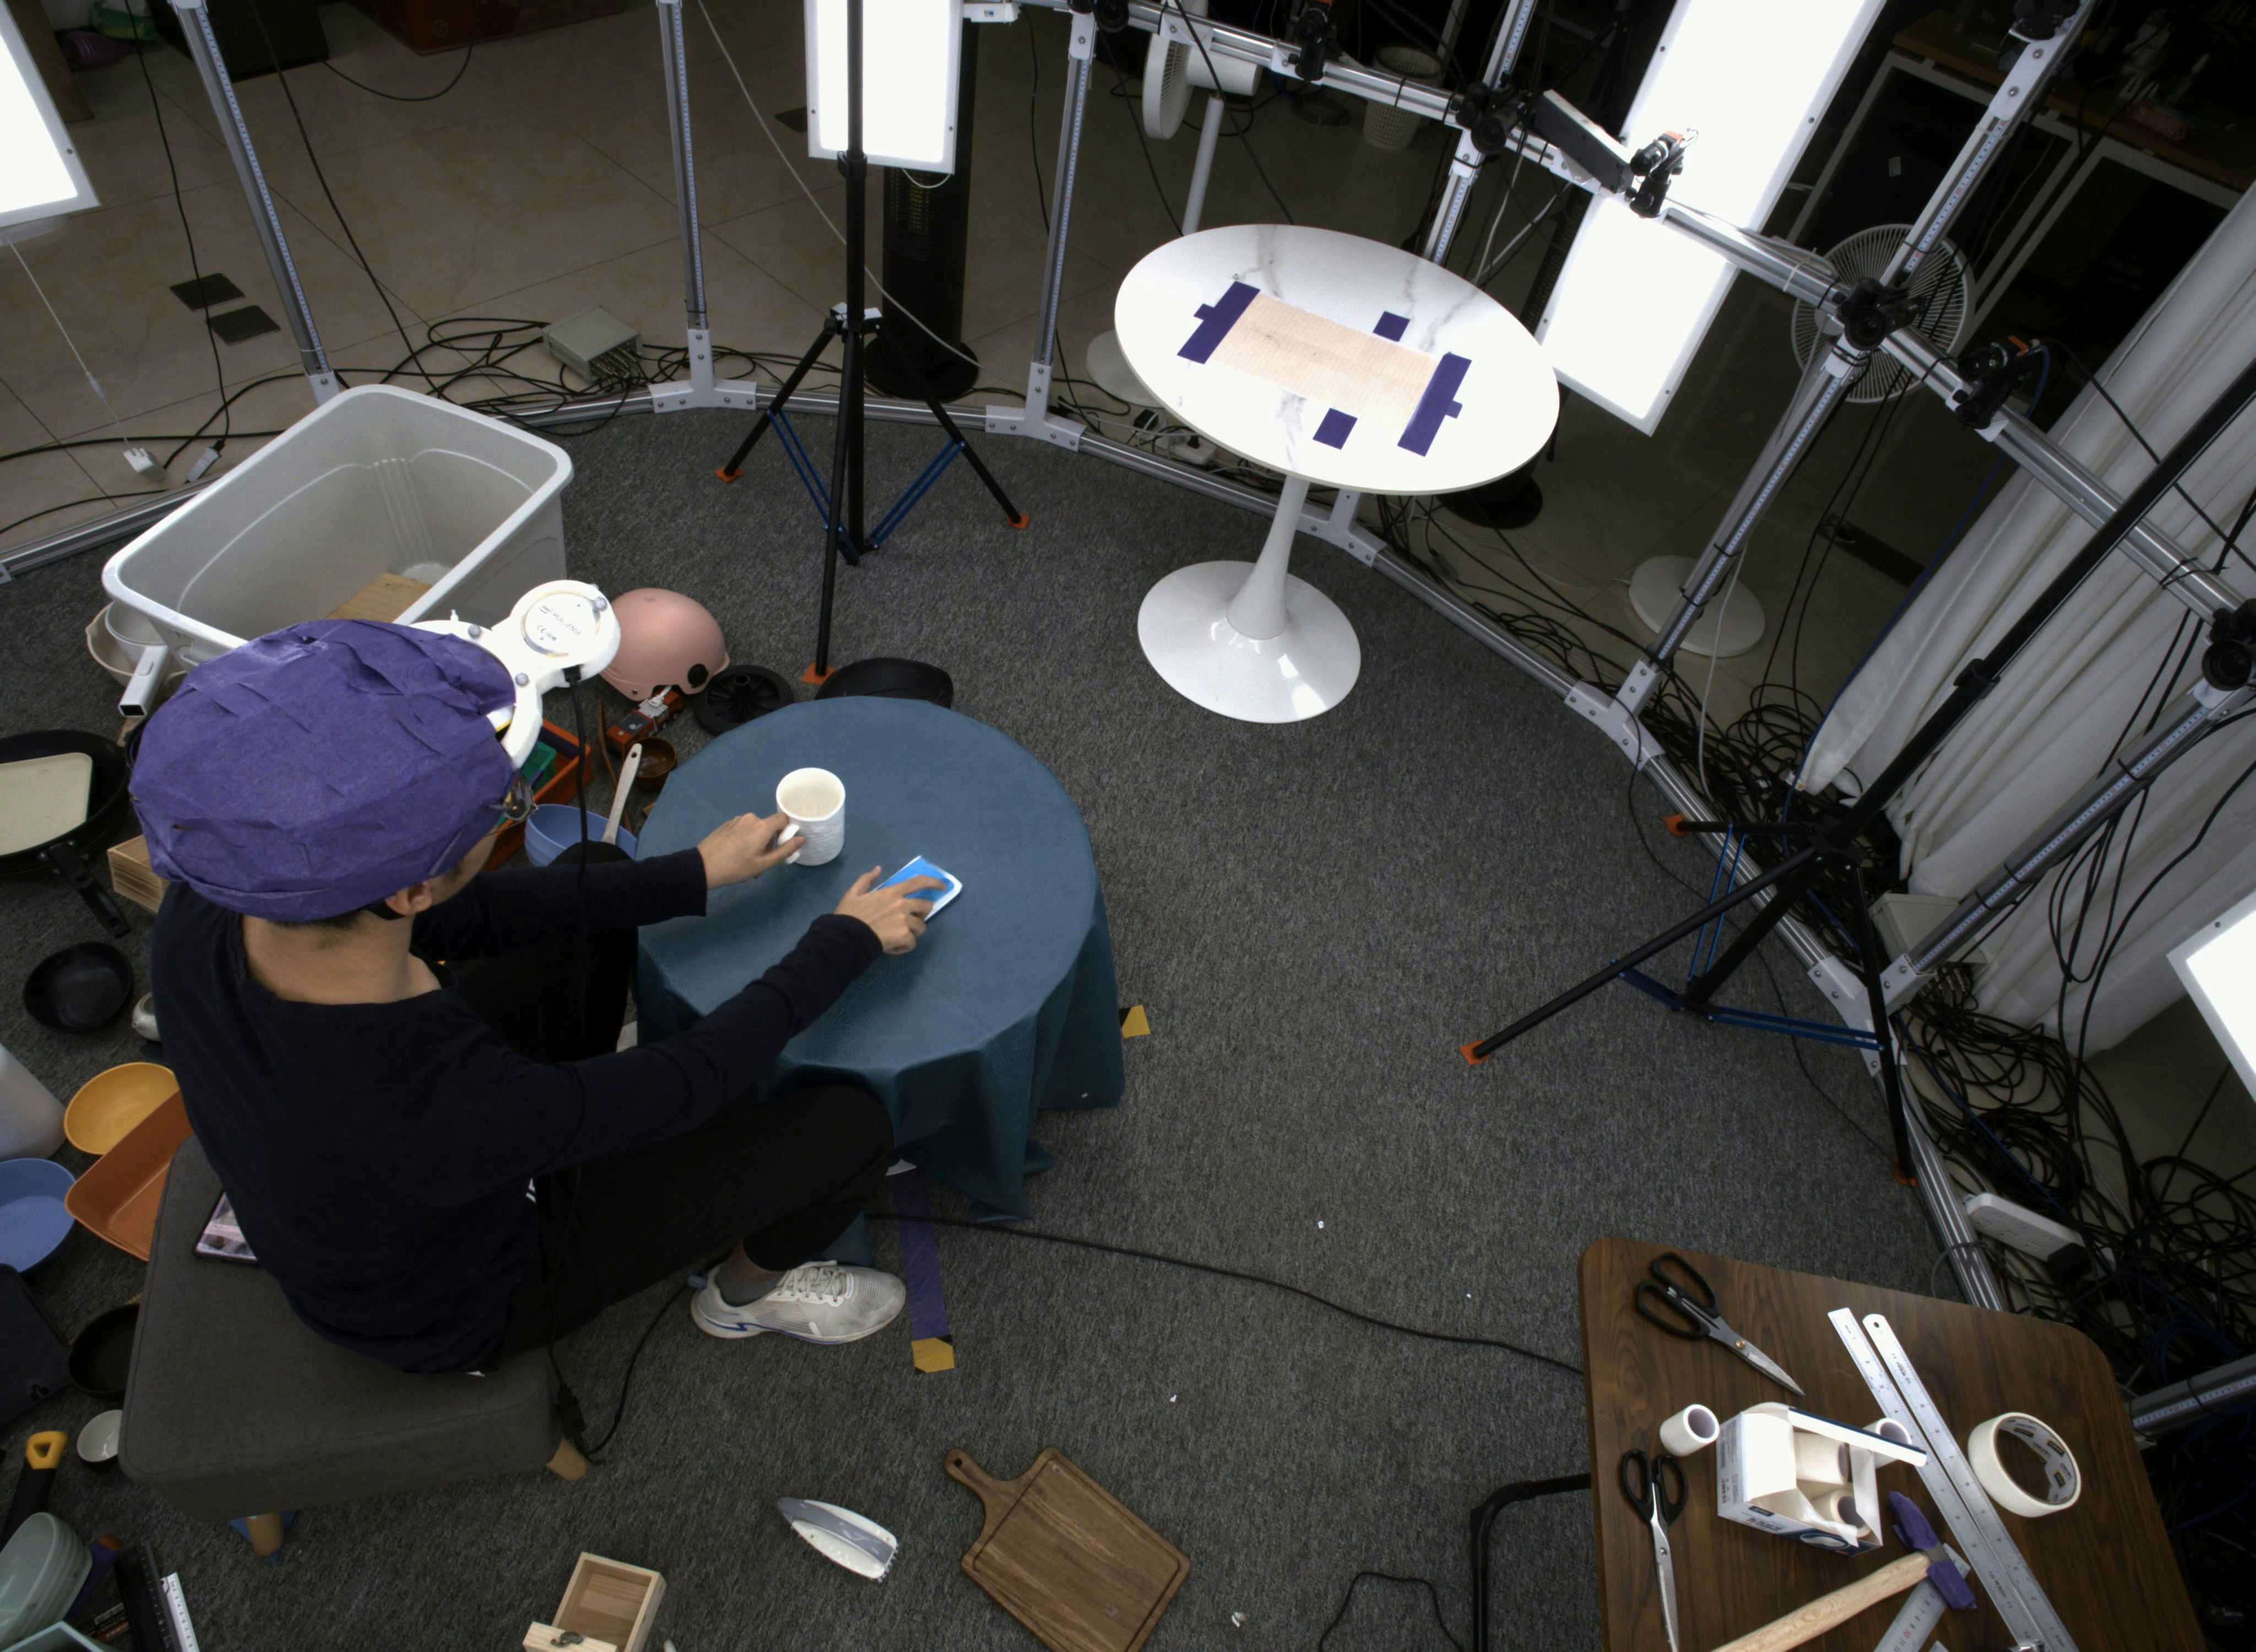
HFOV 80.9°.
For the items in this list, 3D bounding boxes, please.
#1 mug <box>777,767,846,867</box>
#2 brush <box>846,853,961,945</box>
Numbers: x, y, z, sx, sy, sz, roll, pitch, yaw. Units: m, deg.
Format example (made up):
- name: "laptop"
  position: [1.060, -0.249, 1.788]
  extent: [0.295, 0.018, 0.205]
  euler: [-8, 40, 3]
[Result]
- name: "mug"
  position: [-0.413, 0.001, 1.660]
  extent: [0.084, 0.104, 0.117]
  euler: [21, 50, 3]
- name: "brush"
  position: [-0.286, 0.085, 1.658]
  extent: [0.082, 0.057, 0.144]
  euler: [39, 52, 20]
